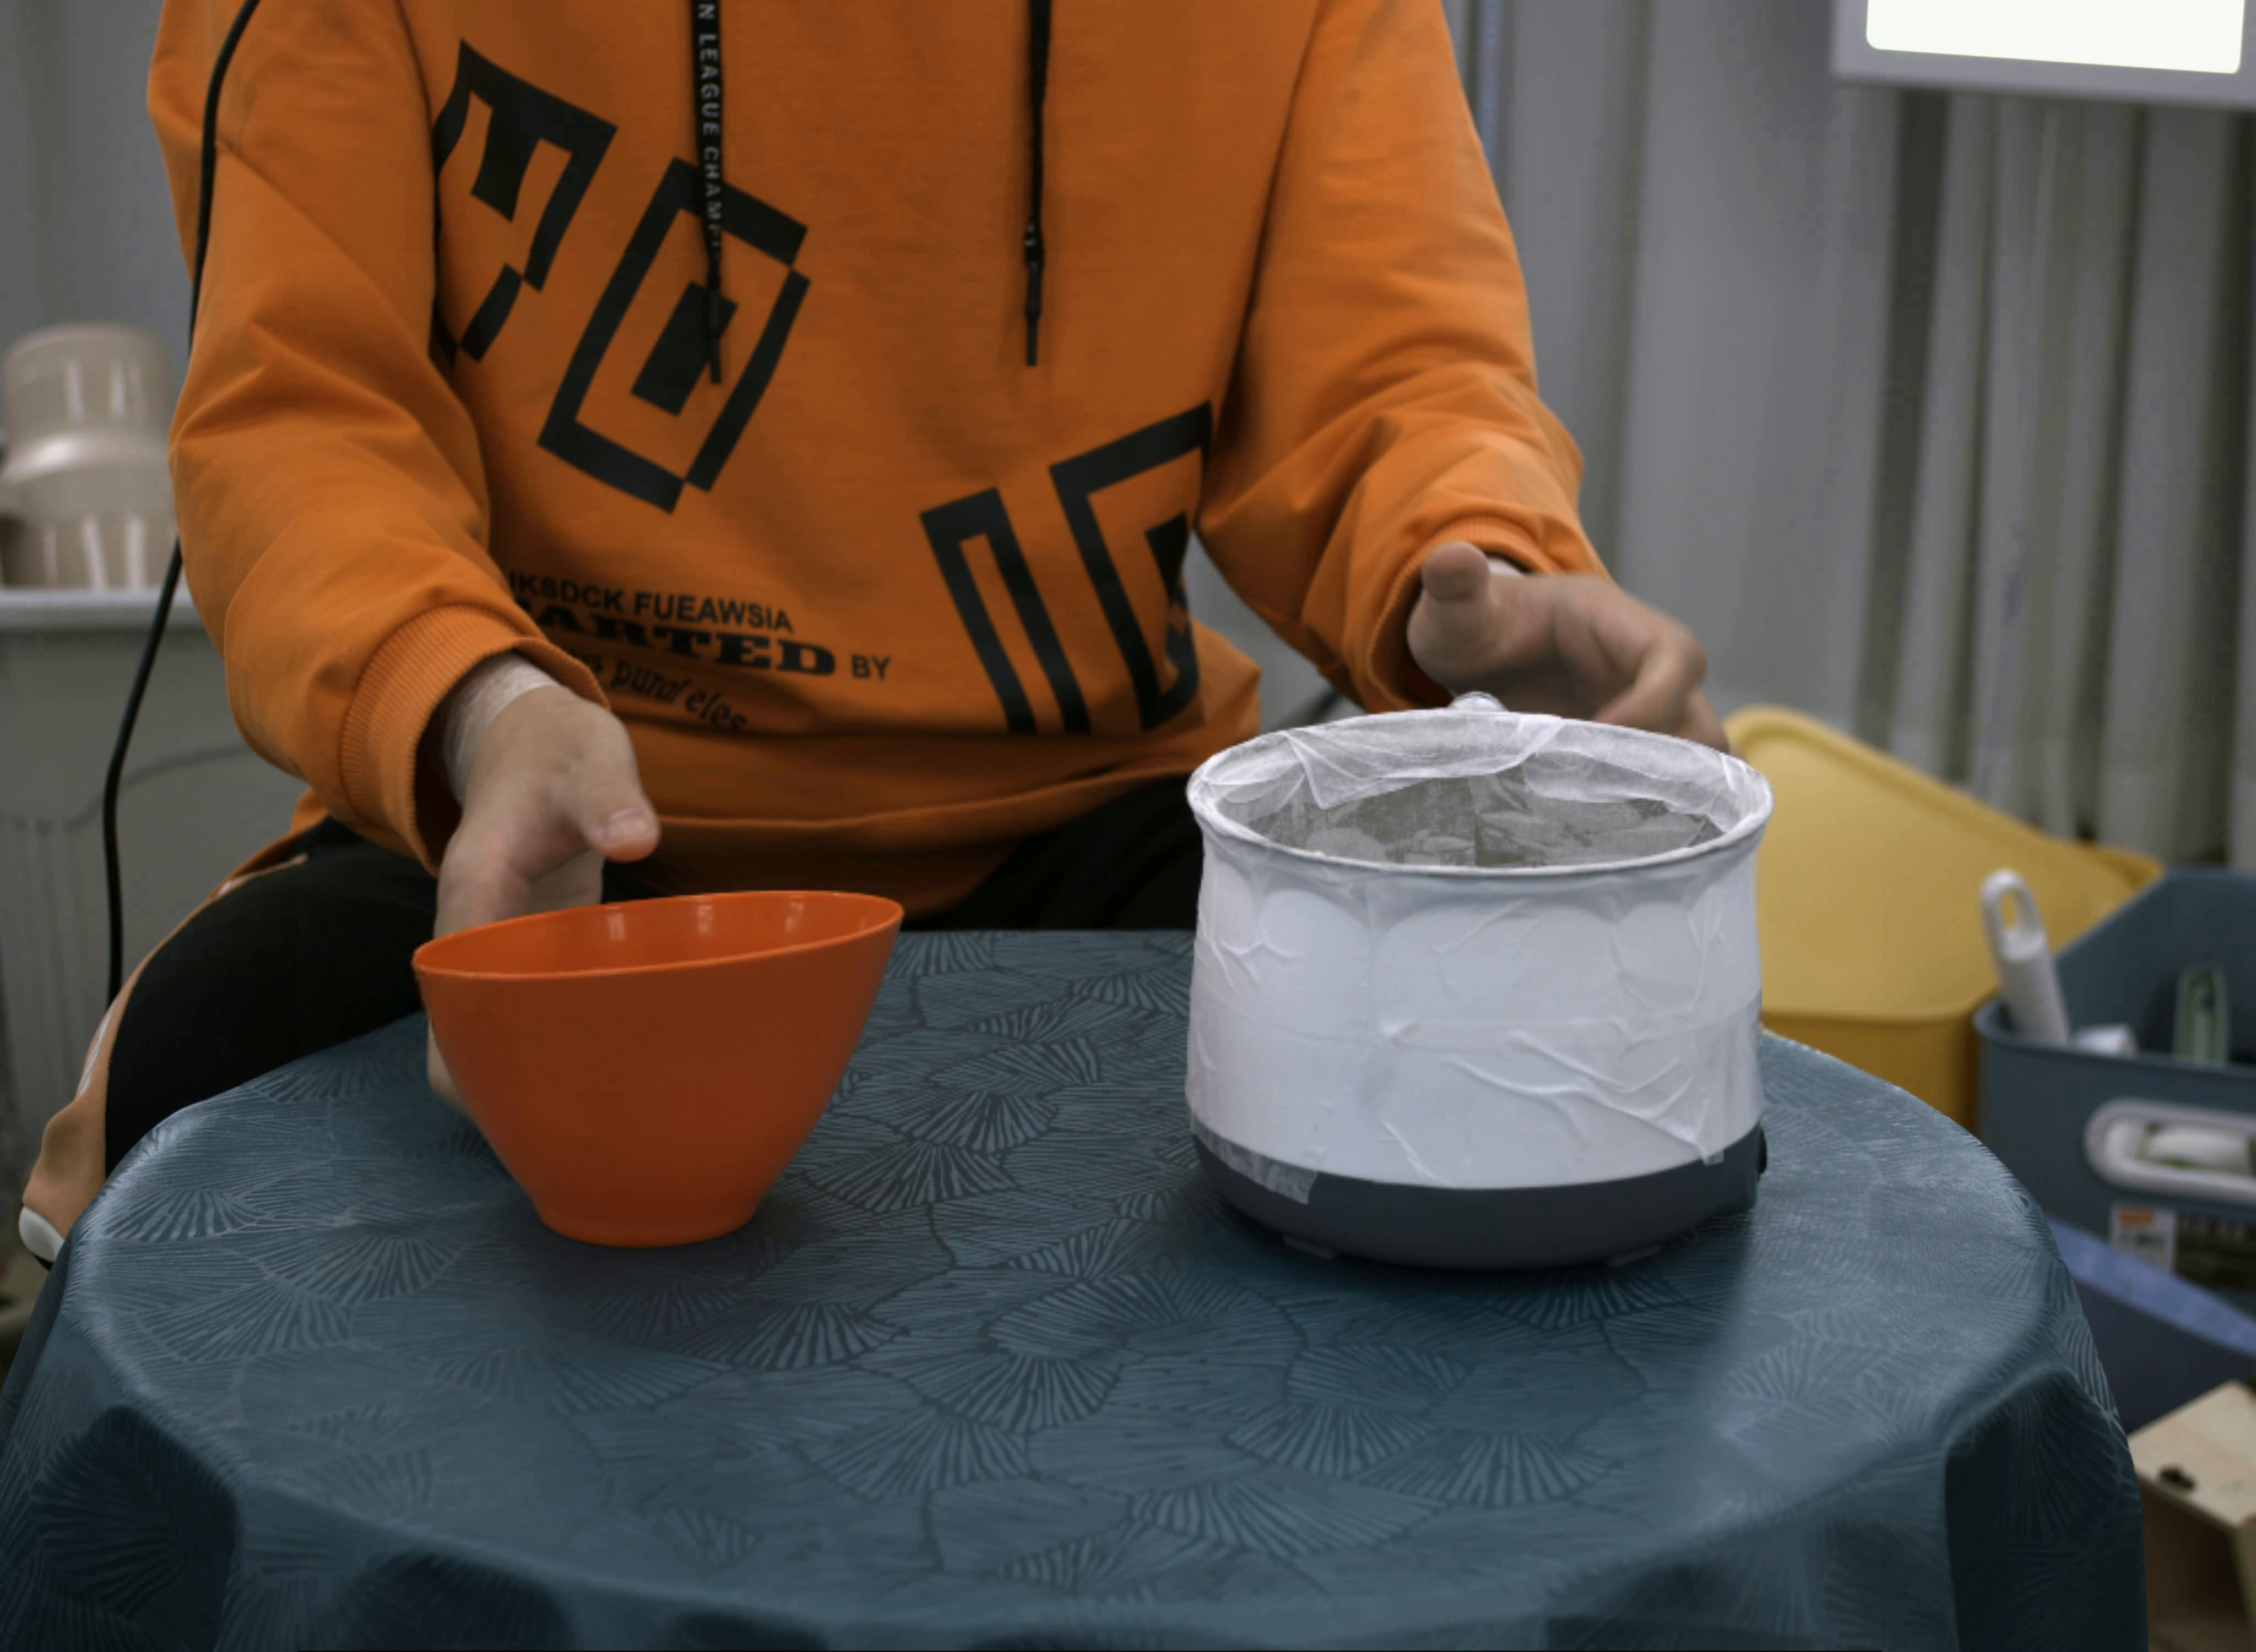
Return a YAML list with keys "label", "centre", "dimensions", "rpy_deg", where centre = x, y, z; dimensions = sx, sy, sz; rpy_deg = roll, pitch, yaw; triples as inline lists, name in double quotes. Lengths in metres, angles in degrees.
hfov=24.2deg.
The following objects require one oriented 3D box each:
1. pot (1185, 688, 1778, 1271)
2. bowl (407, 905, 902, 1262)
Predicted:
- label: "pot"
  centre: [0.106, 0.042, 1.622]
  dimensions: [0.178, 0.138, 0.232]
  rpy_deg: [1, 16, 1]
- label: "bowl"
  centre: [-0.141, 0.074, 1.577]
  dimensions: [0.147, 0.105, 0.147]
  rpy_deg: [0, 14, 1]
